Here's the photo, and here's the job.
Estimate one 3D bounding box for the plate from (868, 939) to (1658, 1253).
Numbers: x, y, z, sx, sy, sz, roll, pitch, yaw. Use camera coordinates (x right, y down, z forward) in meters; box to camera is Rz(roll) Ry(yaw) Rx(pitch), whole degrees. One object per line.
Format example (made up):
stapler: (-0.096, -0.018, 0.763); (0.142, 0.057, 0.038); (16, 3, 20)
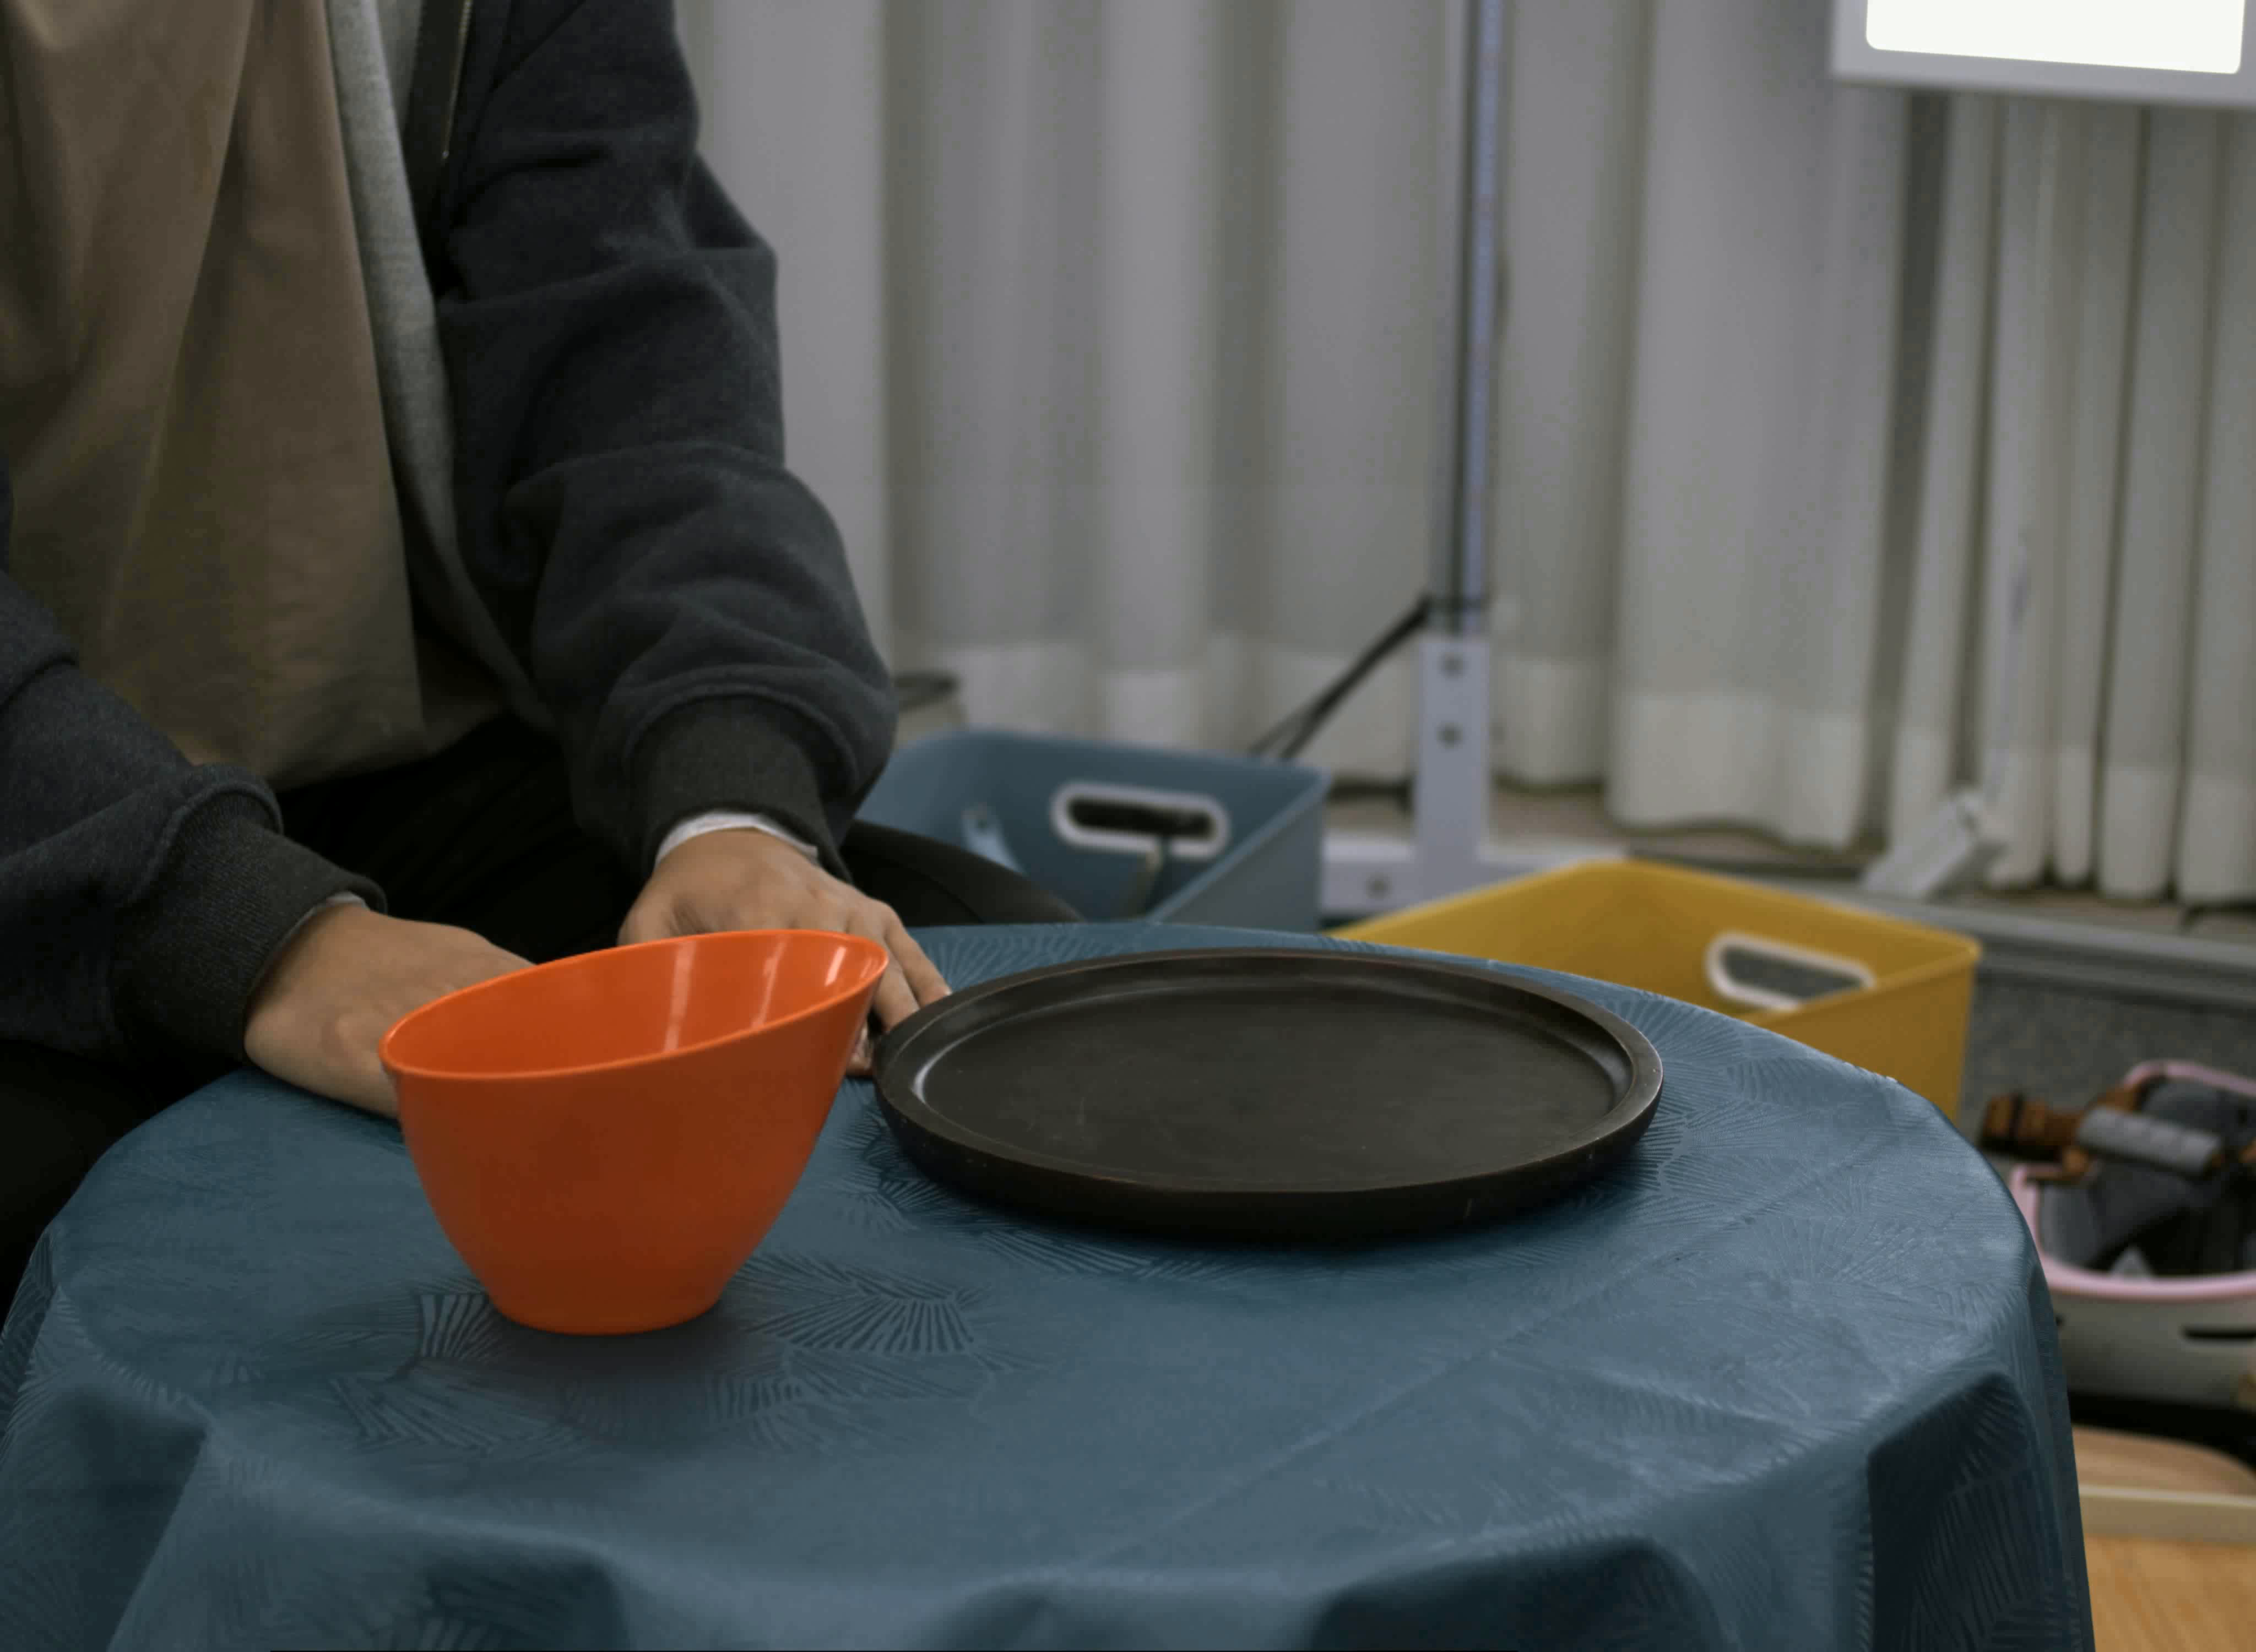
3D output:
plate: (0.043, 0.084, 1.682); (0.254, 0.029, 0.253); (0, 16, 1)

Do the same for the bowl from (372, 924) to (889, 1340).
bowl: (-0.142, 0.089, 1.511); (0.147, 0.105, 0.147); (0, 17, 0)
